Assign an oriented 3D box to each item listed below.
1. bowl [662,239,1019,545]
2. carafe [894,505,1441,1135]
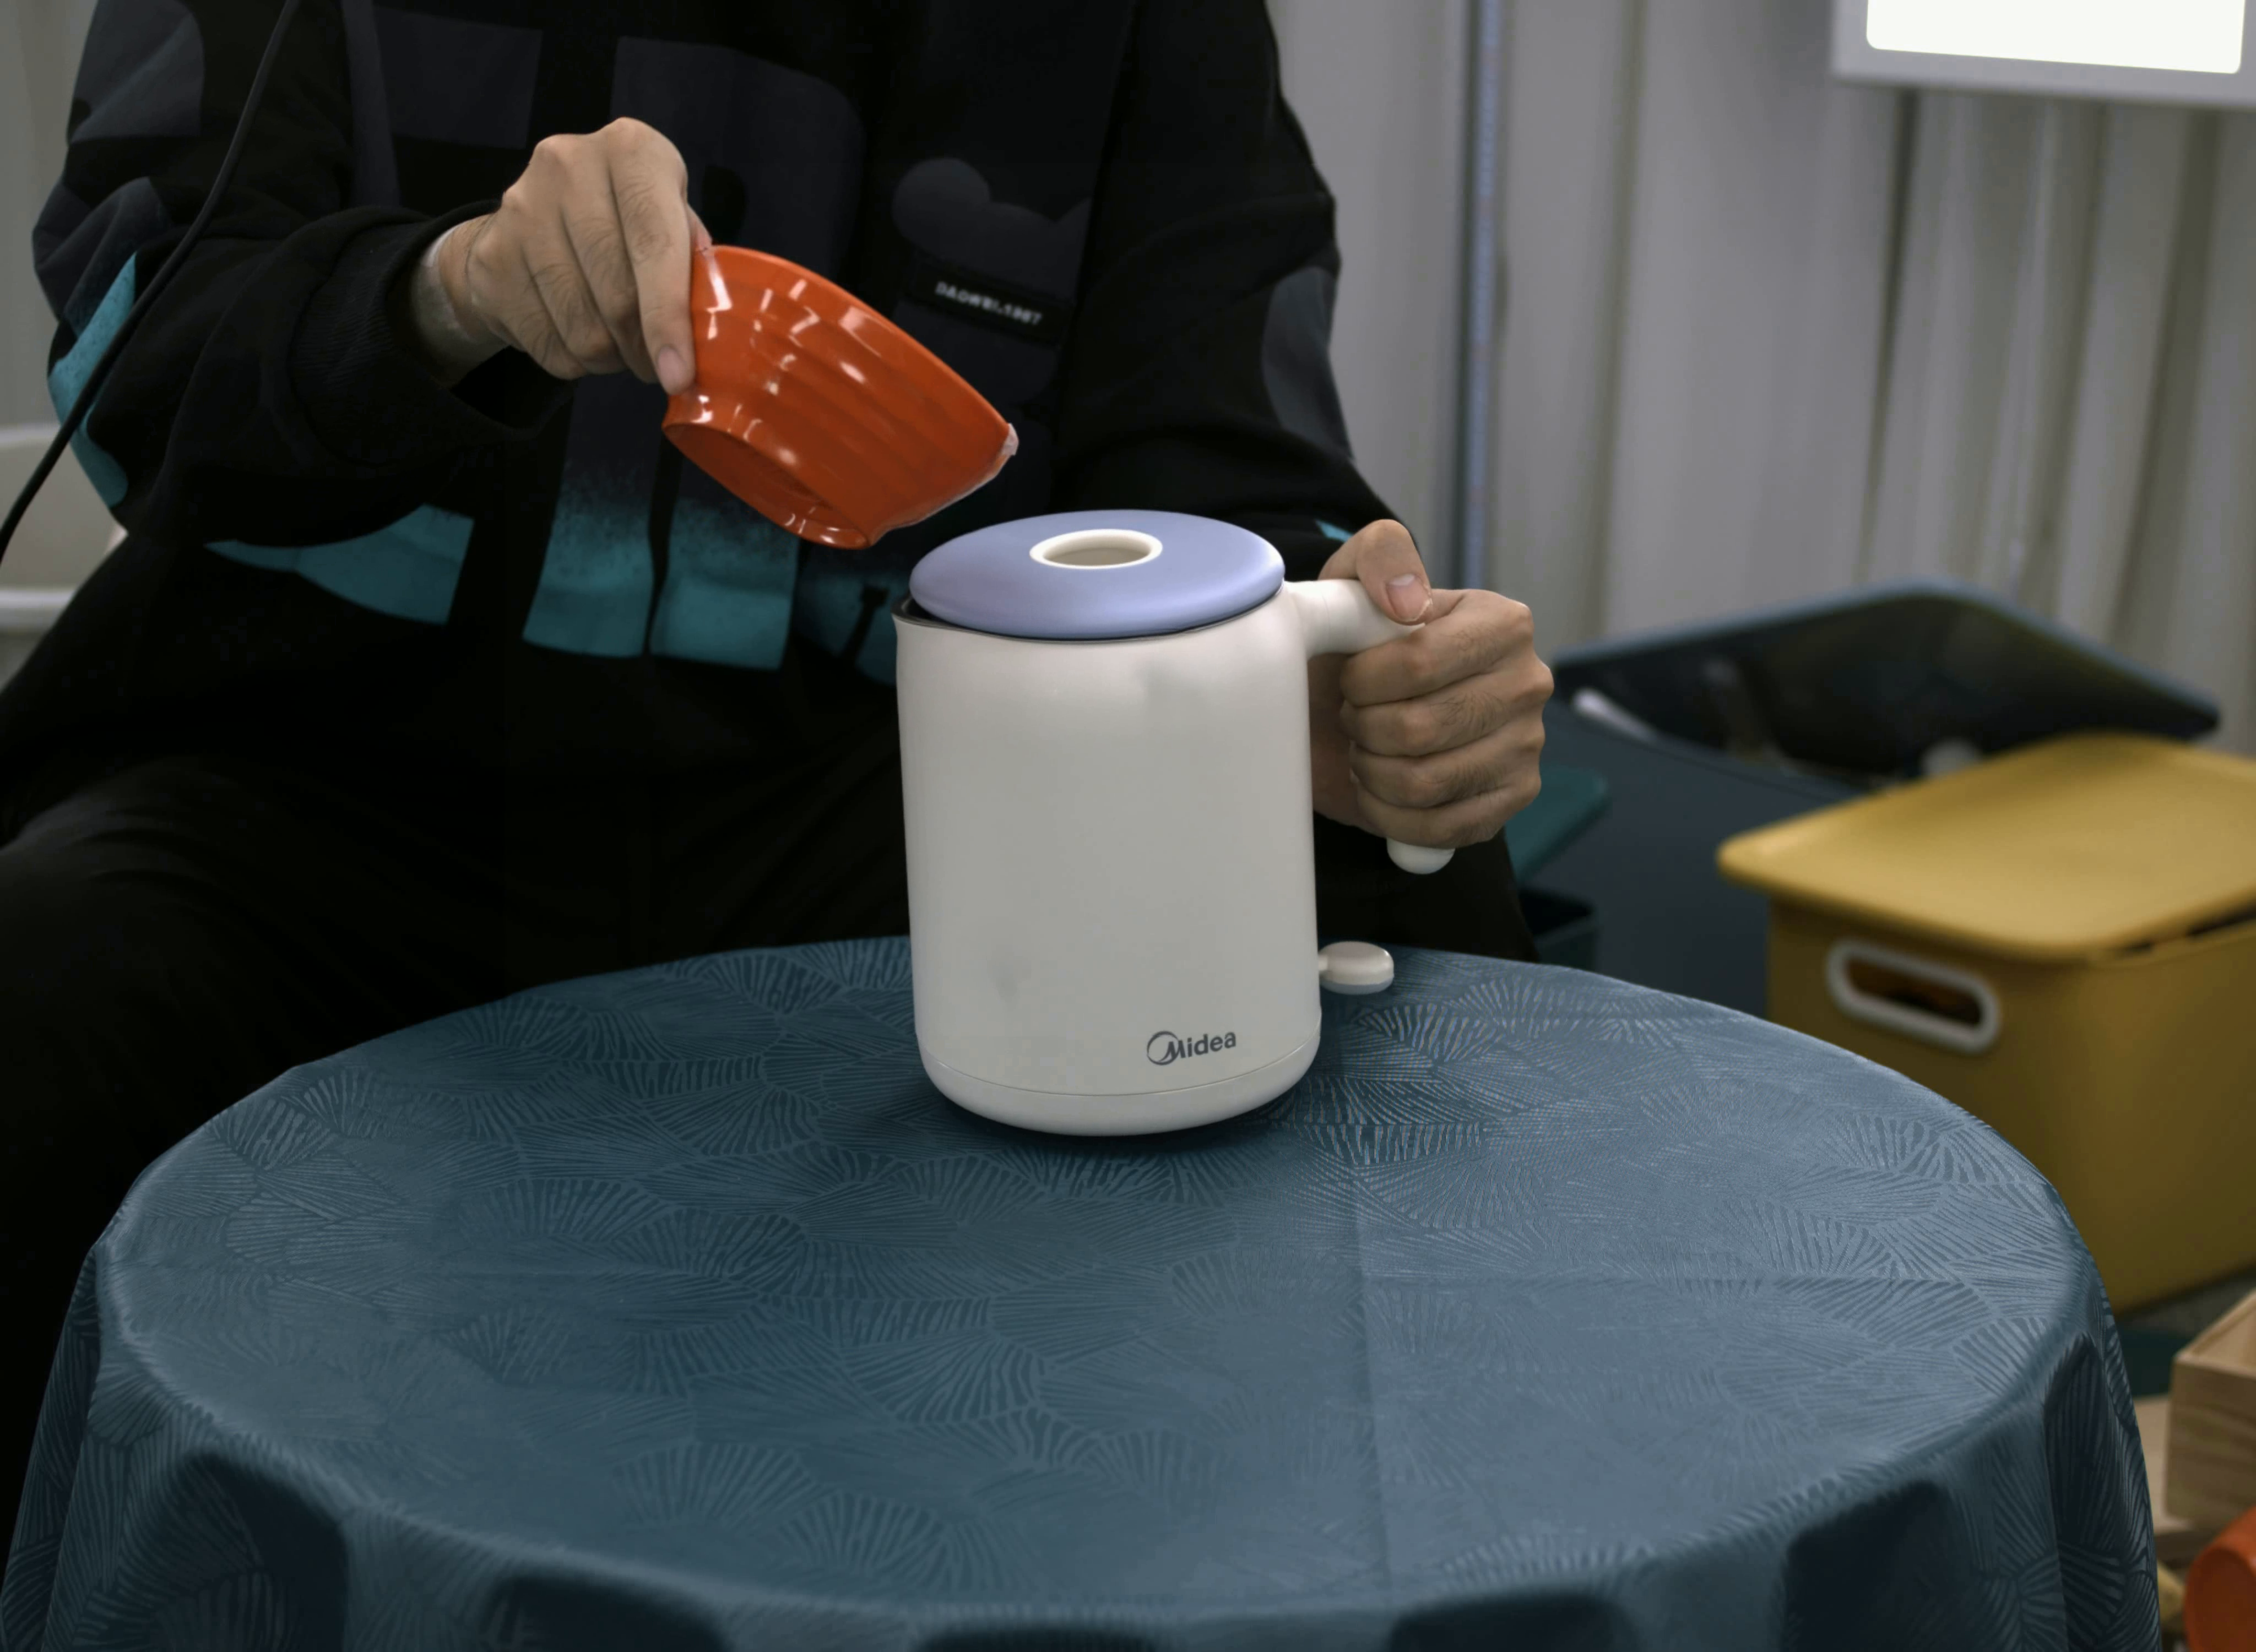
[{"bbox_3d":[-0.095,-0.124,1.574,0.118,0.051,0.119,30,-10,6],"label":"bowl"},{"bbox_3d":[0.015,-0.006,1.685,0.191,0.184,0.130,-8,22,-22],"label":"carafe"}]
